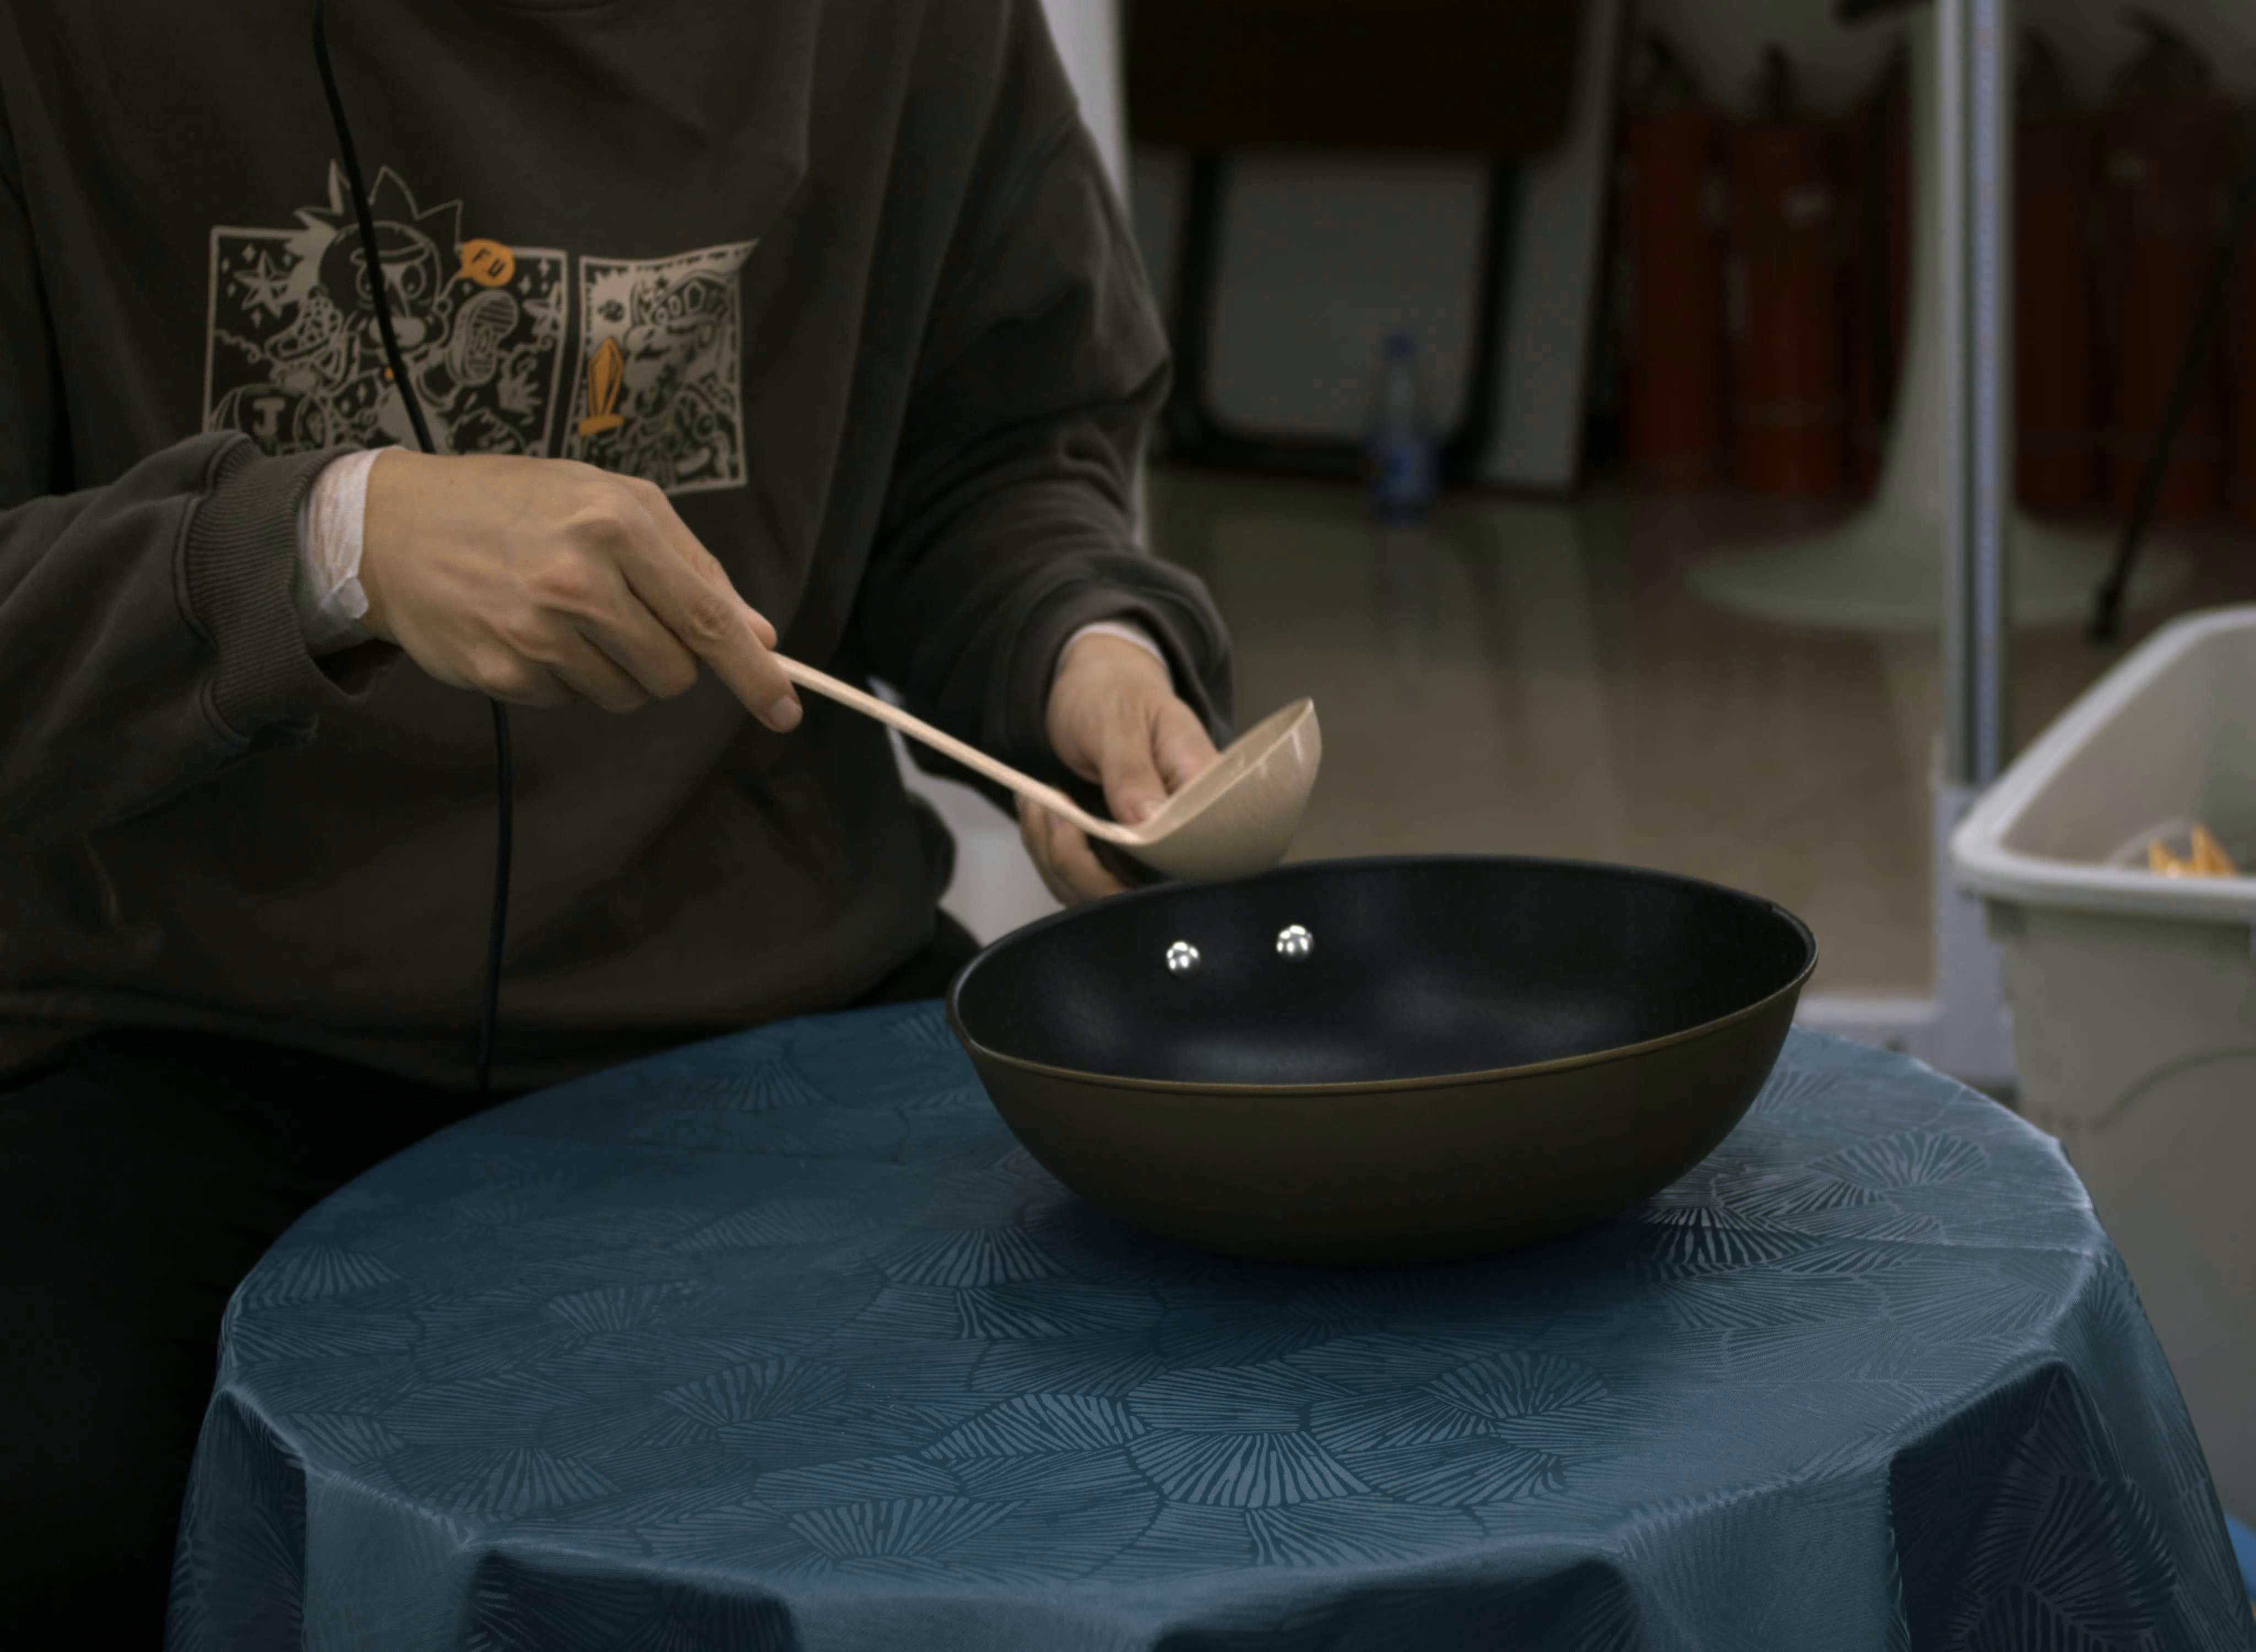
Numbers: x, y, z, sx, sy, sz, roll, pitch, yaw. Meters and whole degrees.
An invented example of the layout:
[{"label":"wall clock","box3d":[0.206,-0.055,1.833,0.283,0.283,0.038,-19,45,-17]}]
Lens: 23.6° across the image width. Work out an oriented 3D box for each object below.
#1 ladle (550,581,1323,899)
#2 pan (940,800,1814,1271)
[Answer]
[{"label":"ladle","box3d":[-0.056,-0.054,1.737,0.251,0.073,0.072,26,7,-6]},{"label":"pan","box3d":[0.050,0.067,1.816,0.282,0.088,0.467,-9,12,-18]}]
